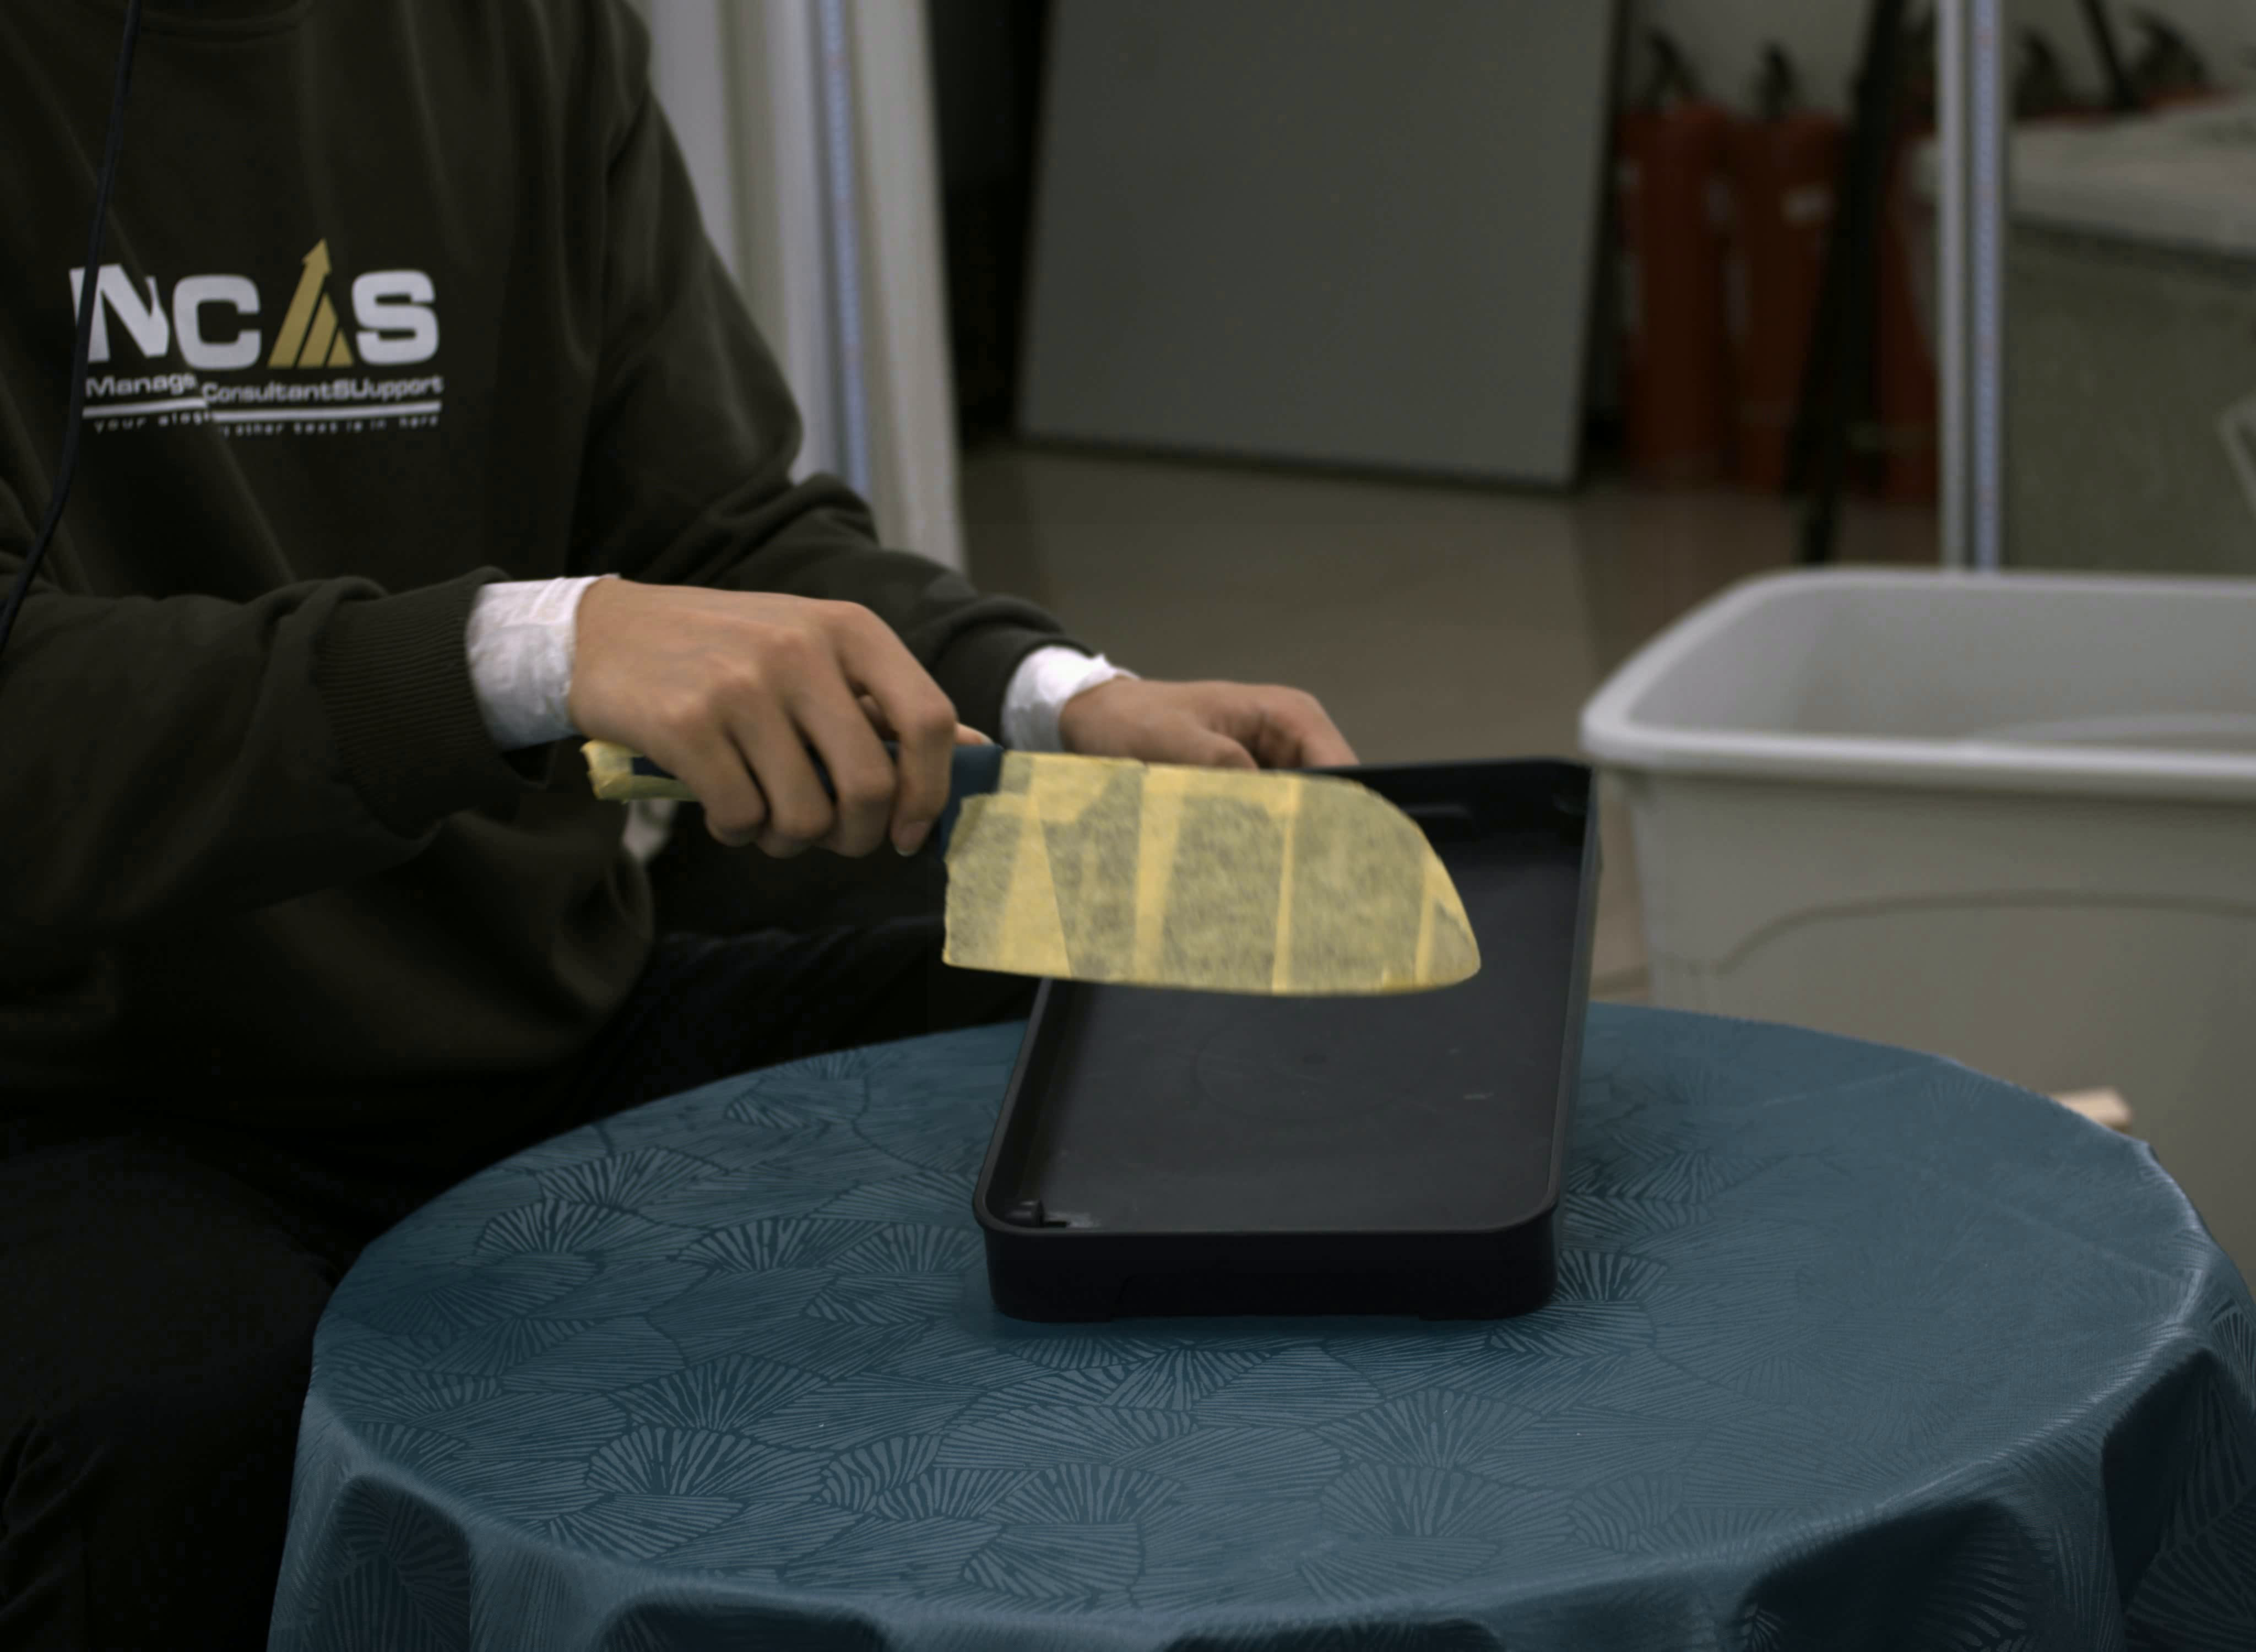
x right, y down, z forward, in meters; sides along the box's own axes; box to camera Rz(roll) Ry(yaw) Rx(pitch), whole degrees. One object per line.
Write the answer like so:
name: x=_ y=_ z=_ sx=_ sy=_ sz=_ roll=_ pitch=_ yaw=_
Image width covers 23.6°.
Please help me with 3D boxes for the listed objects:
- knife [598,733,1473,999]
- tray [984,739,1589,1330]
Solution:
knife: x=-0.030 y=0.012 z=1.722 sx=0.286 sy=0.082 sz=0.027 roll=8 pitch=-17 yaw=4
tray: x=0.060 y=0.063 z=1.773 sx=0.183 sy=0.037 sz=0.318 roll=-5 pitch=27 yaw=9
